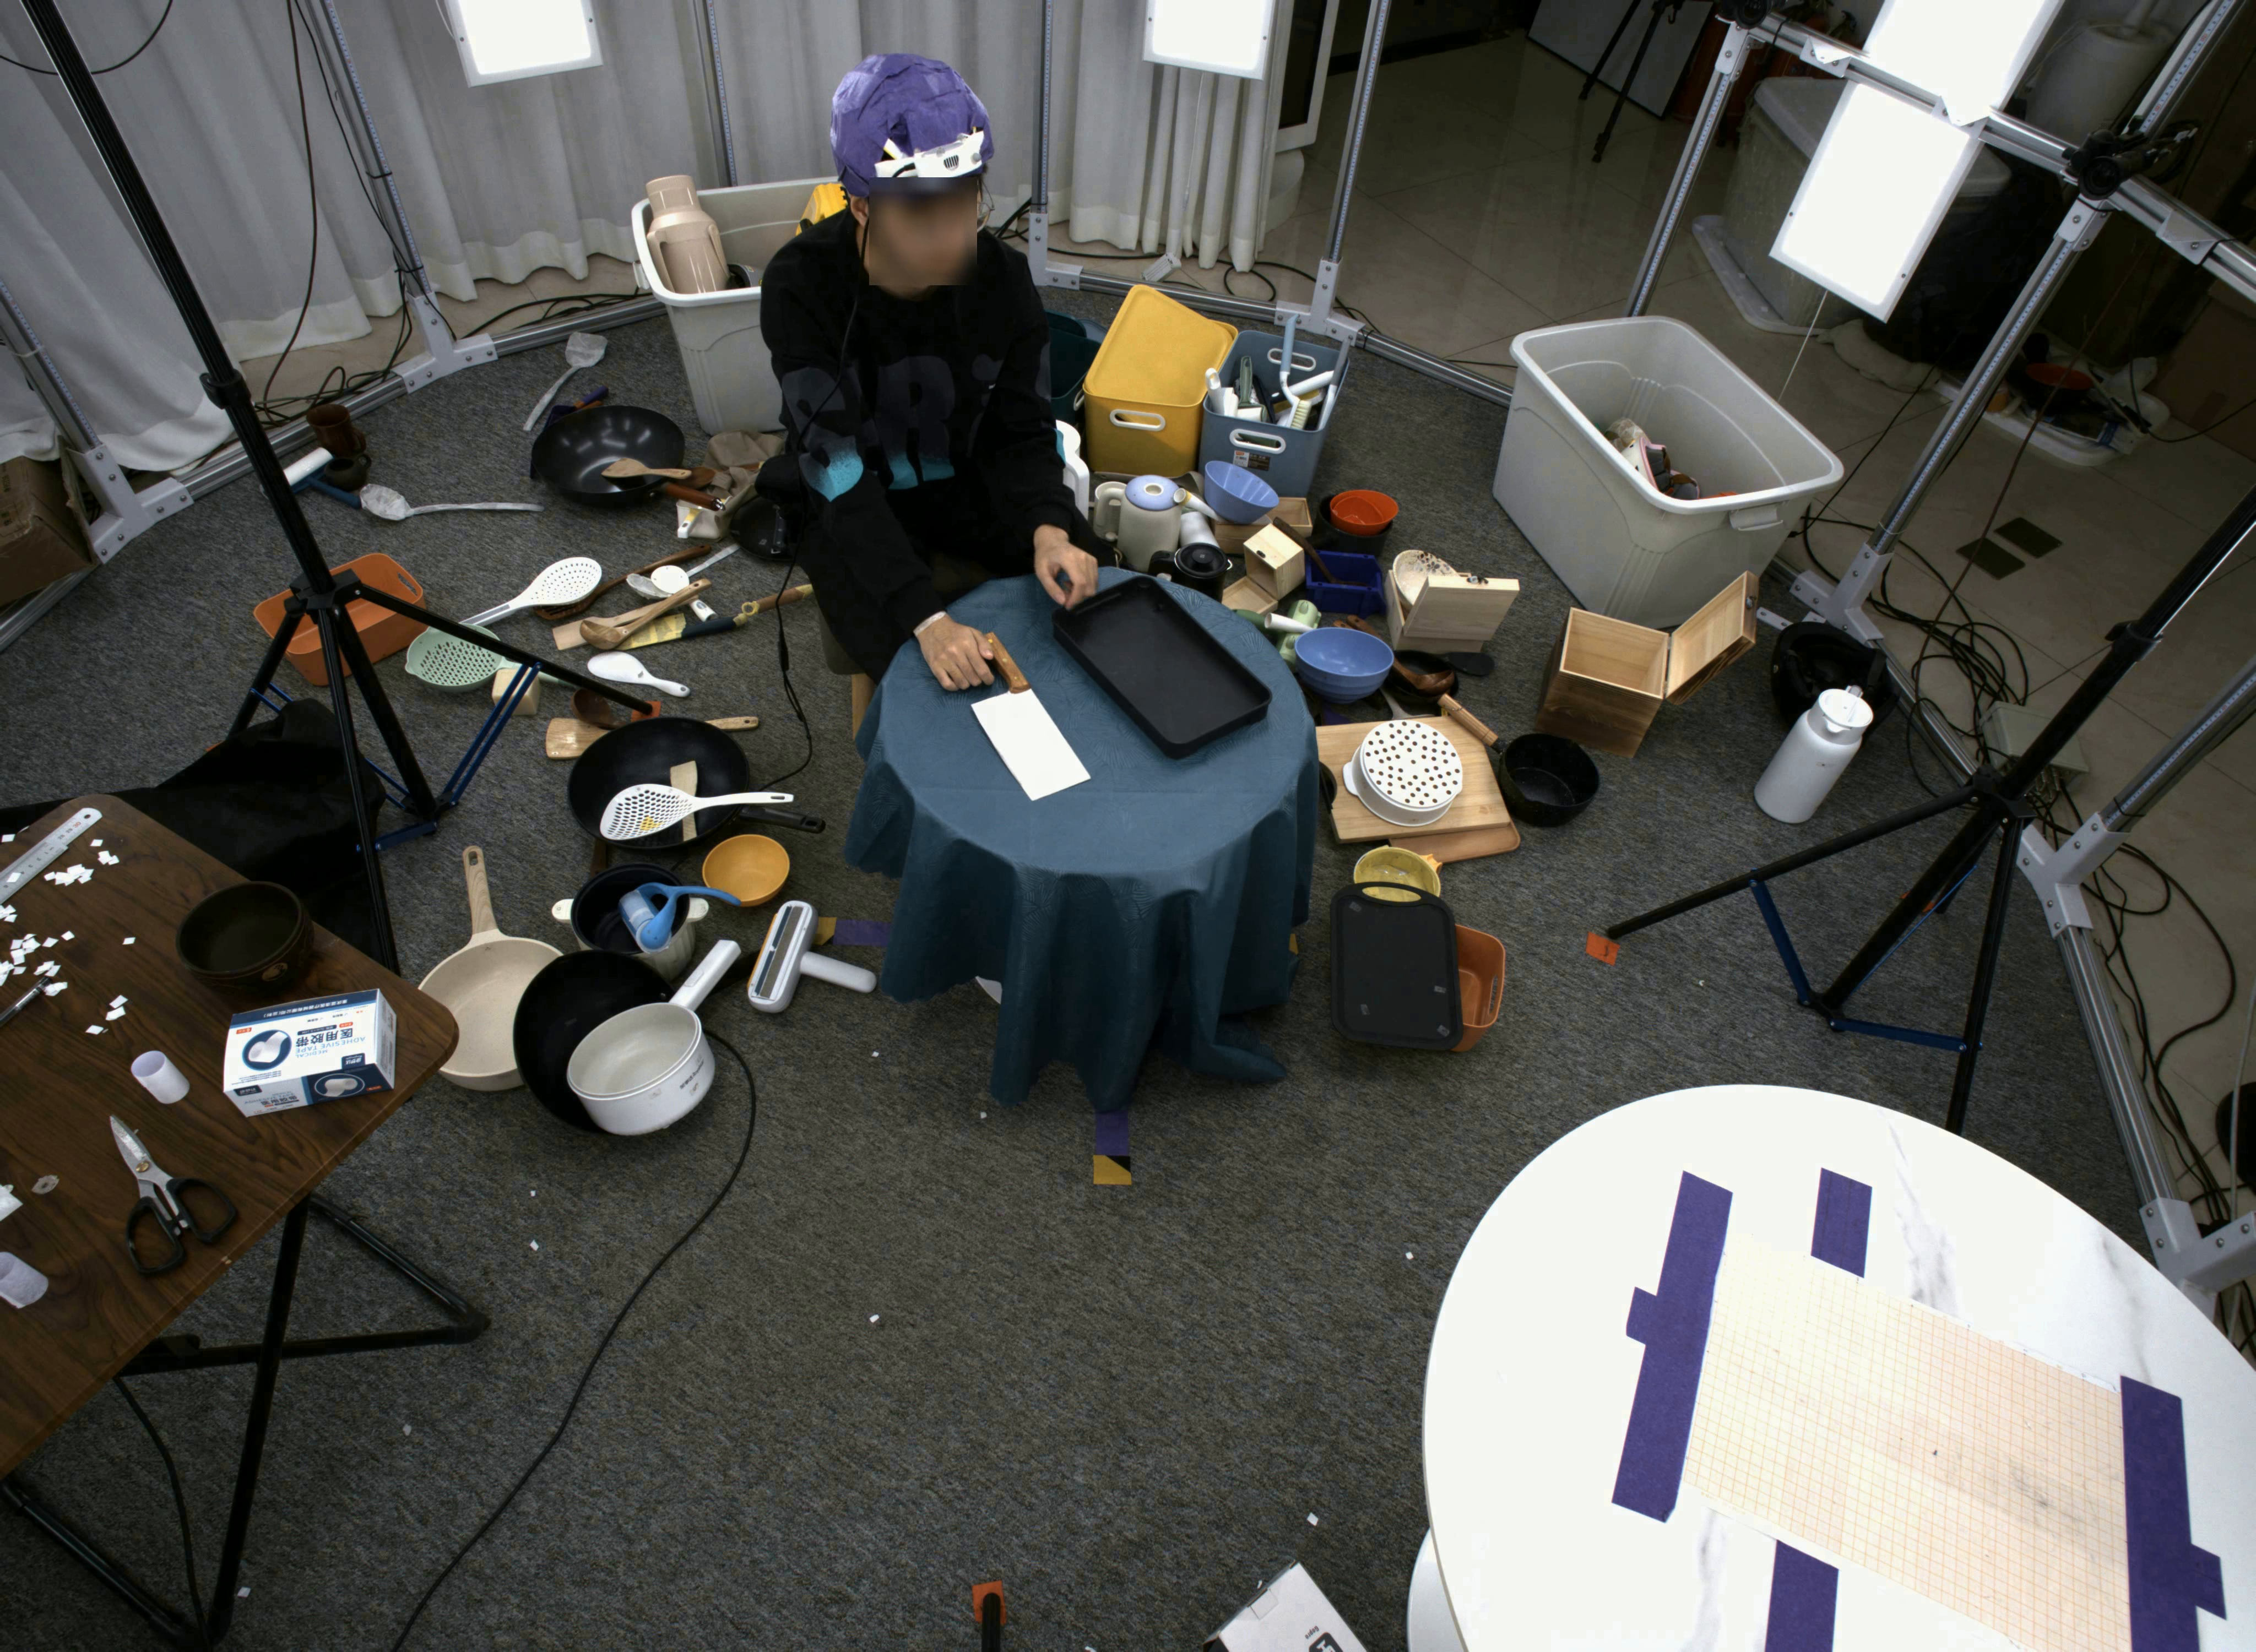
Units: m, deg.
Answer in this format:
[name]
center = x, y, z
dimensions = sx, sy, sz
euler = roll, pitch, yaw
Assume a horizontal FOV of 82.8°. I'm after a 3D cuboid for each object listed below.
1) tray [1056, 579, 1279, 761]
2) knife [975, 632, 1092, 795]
[tray]
center = 0.053, -0.231, 1.849
dimensions = 0.185, 0.036, 0.324
euler = -28, 56, -24
[knife]
center = -0.157, -0.158, 1.786
dimensions = 0.093, 0.020, 0.312
euler = -21, 56, -19
